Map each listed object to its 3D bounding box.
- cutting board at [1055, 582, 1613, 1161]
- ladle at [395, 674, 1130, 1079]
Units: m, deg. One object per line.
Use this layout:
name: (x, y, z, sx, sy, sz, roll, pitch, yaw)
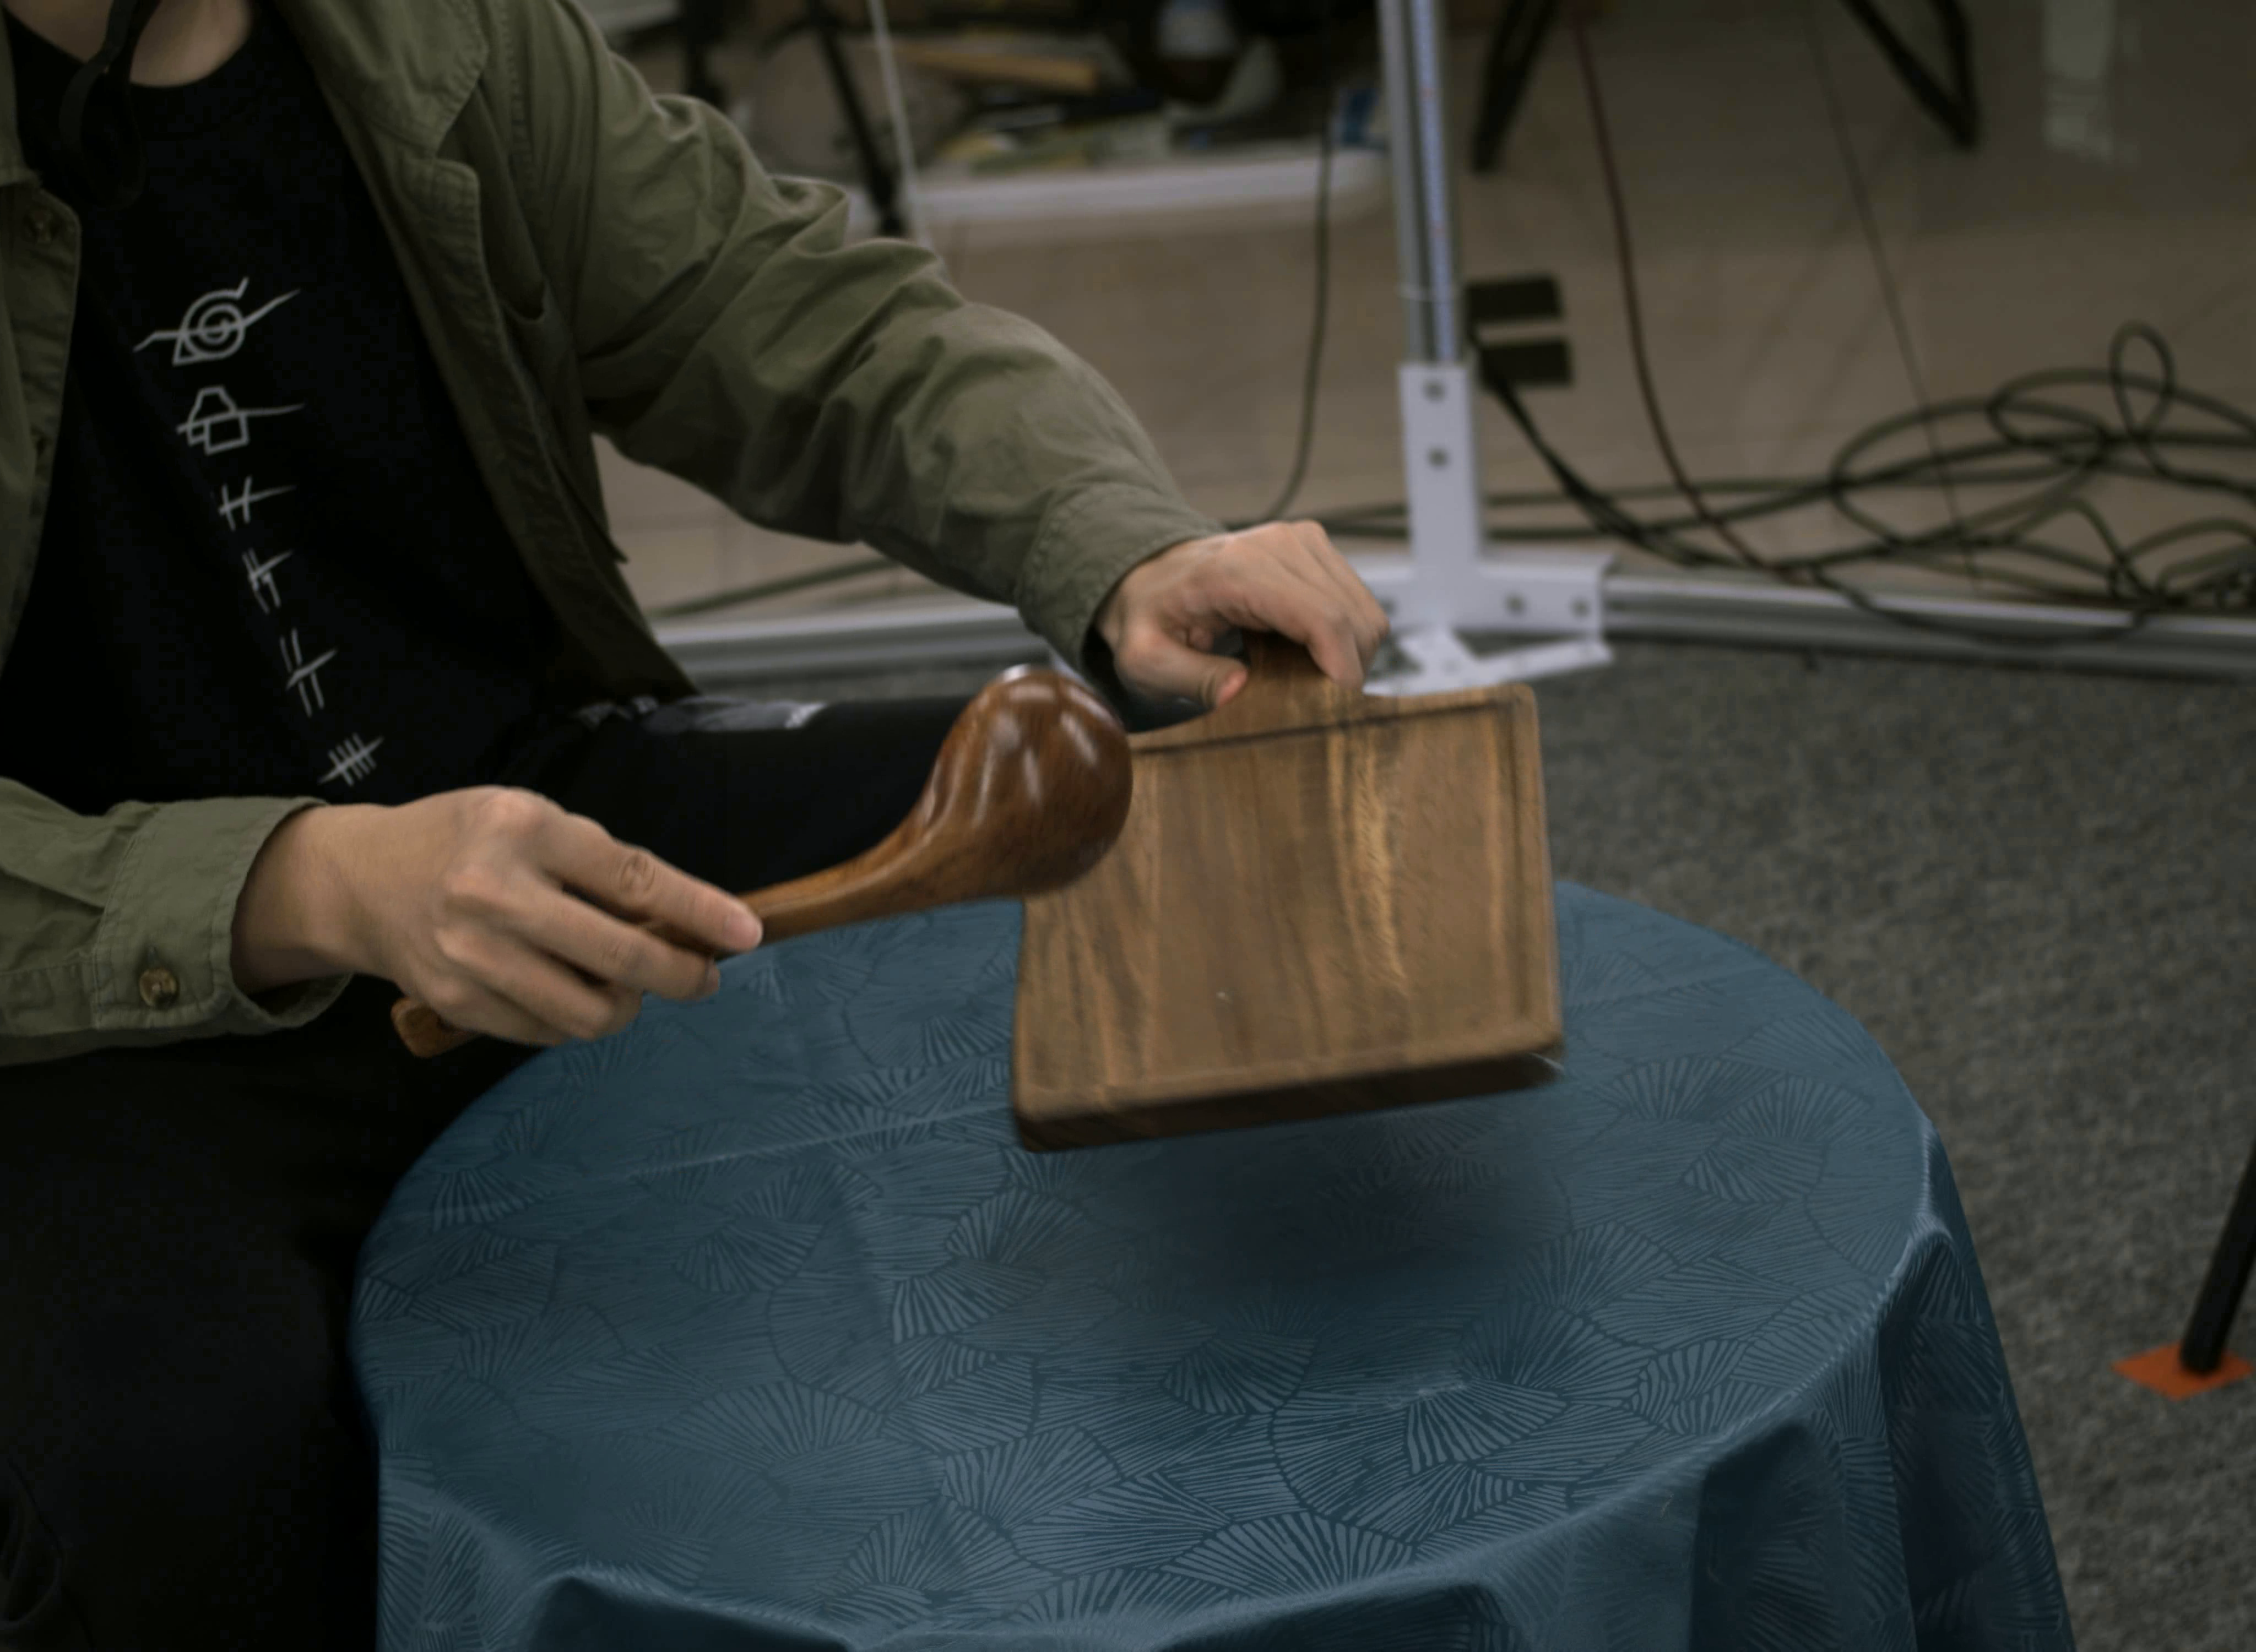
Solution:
cutting board: (0.076, 0.006, 2.134, 0.201, 0.023, 0.346, -6, 33, 7)
ladle: (-0.129, 0.019, 1.970, 0.274, 0.083, 0.075, -17, 31, 19)
